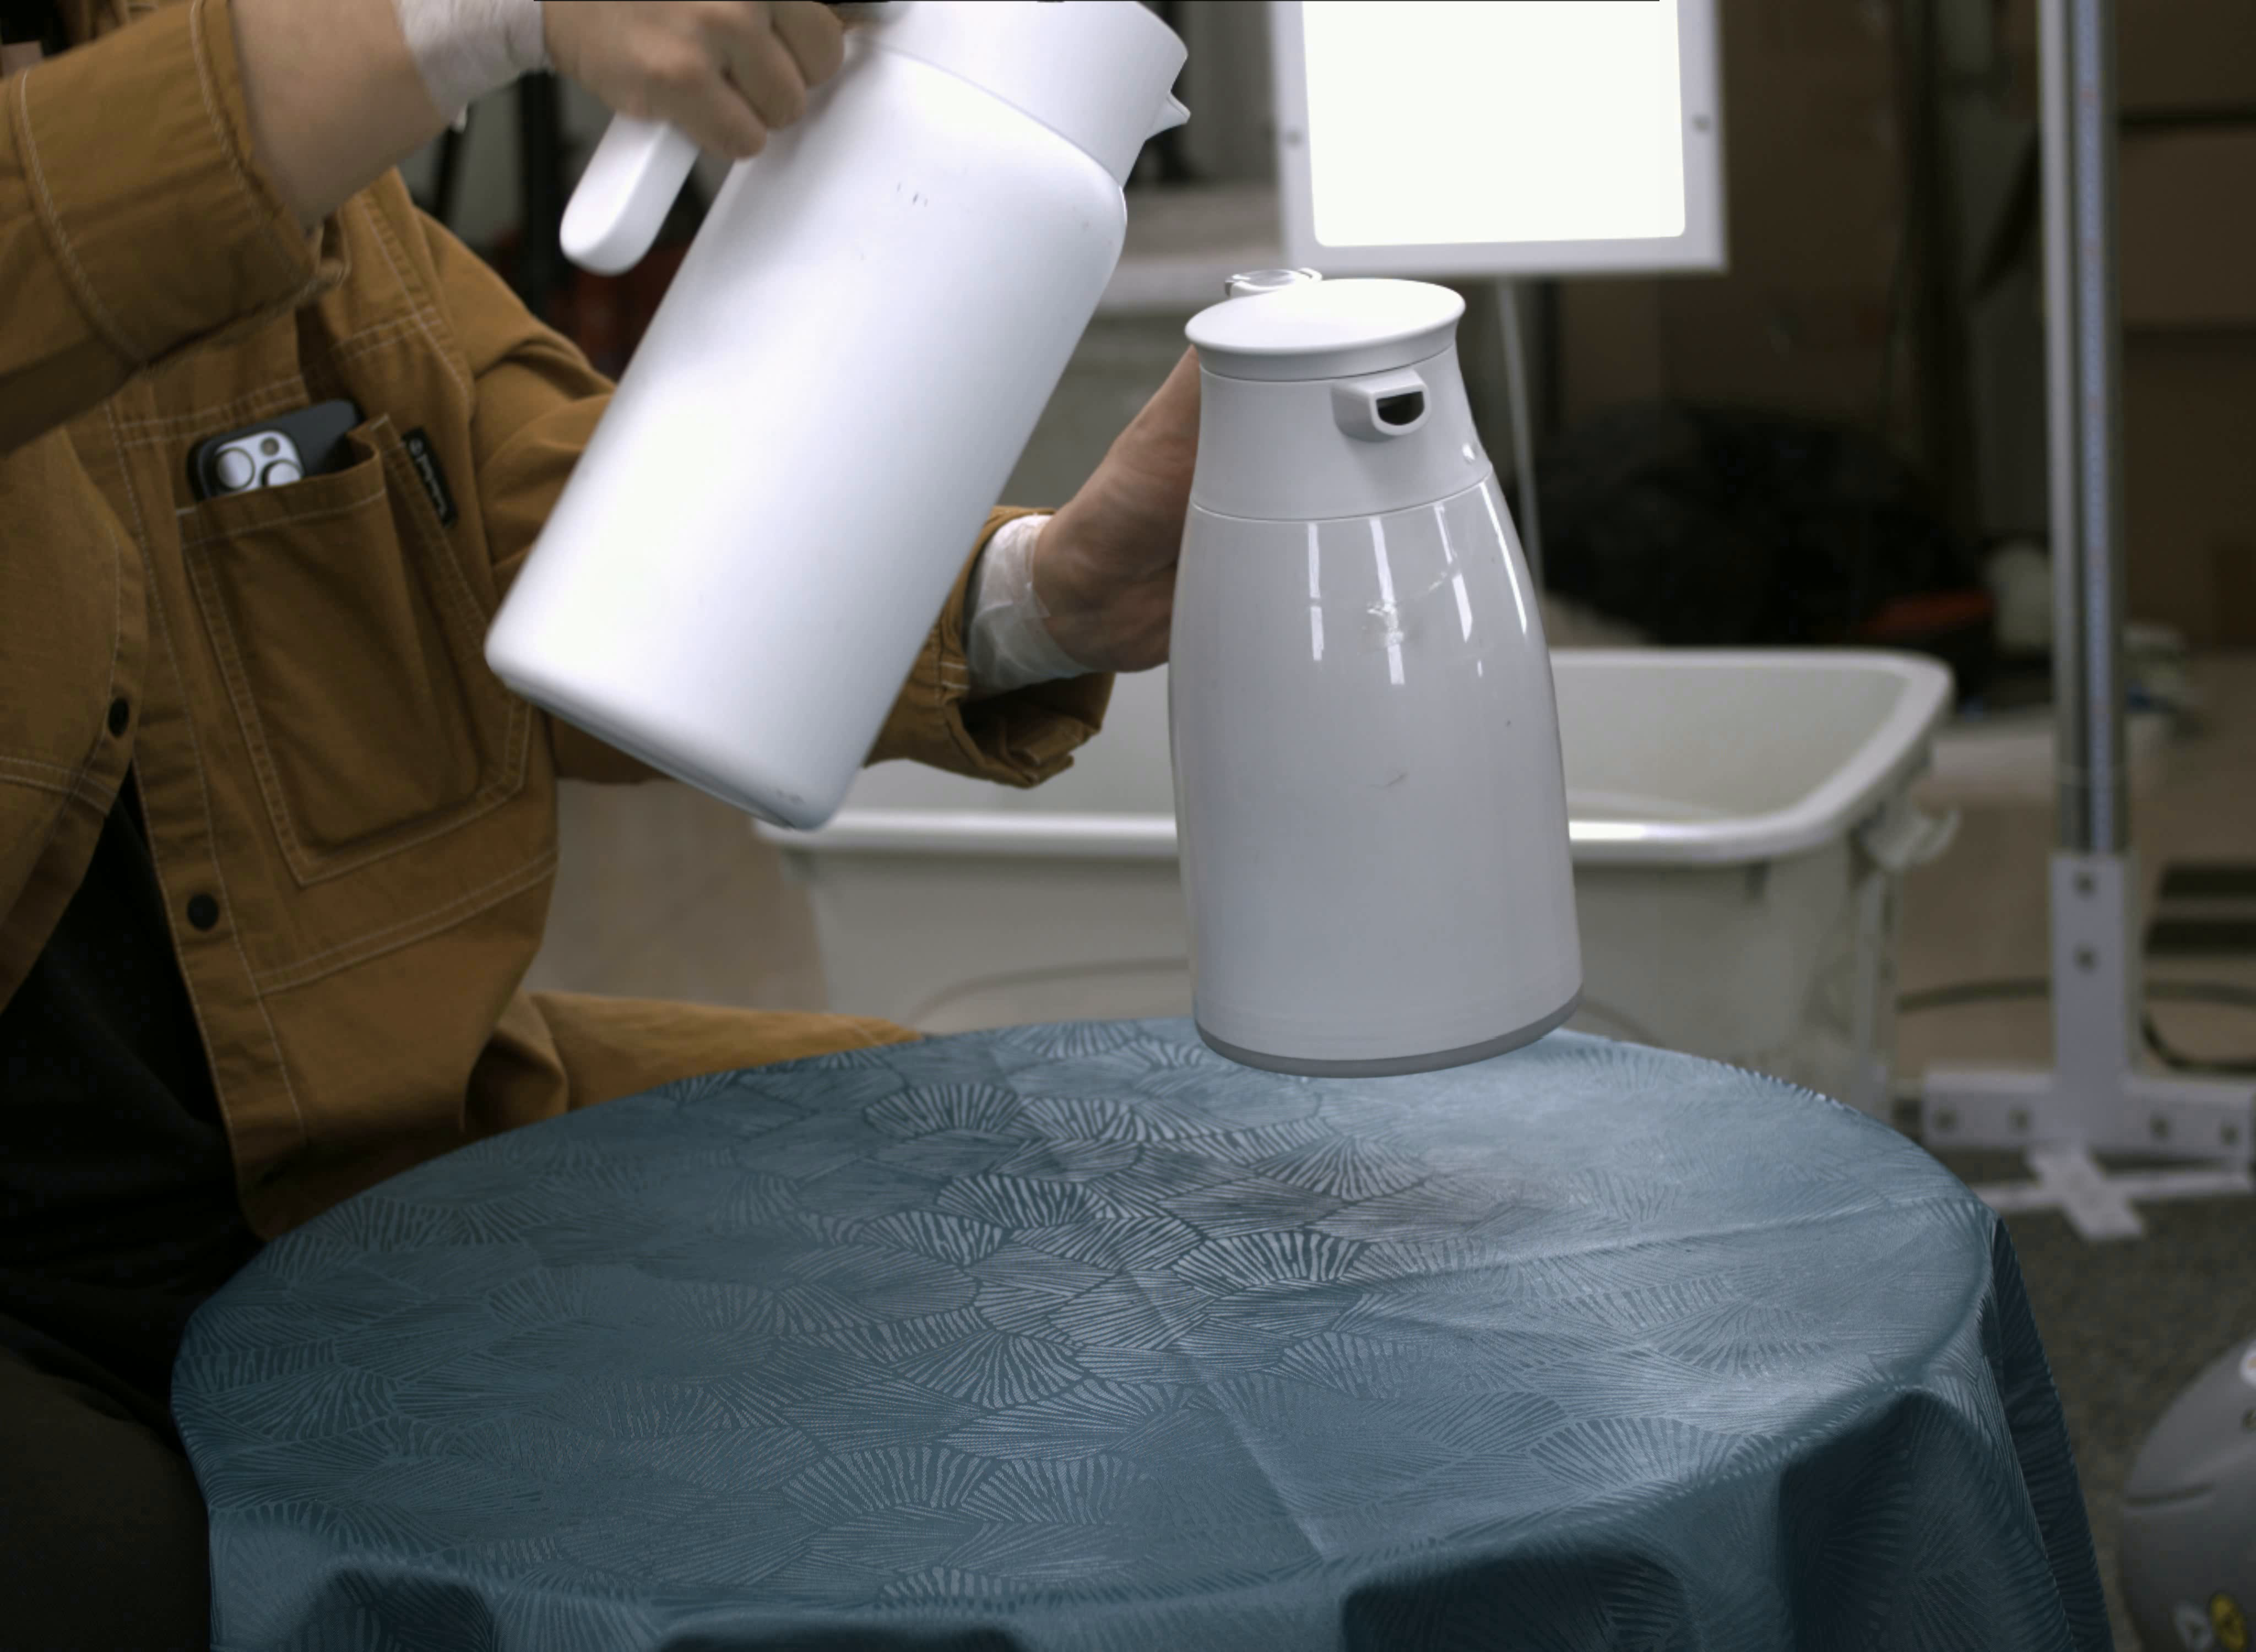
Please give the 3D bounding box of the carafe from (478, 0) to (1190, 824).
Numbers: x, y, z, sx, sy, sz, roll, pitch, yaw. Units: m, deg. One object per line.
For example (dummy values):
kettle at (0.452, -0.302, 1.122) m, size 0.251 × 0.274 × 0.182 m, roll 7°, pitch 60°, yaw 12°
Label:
carafe at (-0.096, -0.148, 1.645) m, size 0.169 × 0.269 × 0.126 m, roll 30°, pitch -2°, yaw -37°

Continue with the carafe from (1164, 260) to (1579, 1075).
carafe at (0.066, -0.061, 1.824) m, size 0.130 × 0.249 × 0.170 m, roll -12°, pitch 18°, yaw -17°
